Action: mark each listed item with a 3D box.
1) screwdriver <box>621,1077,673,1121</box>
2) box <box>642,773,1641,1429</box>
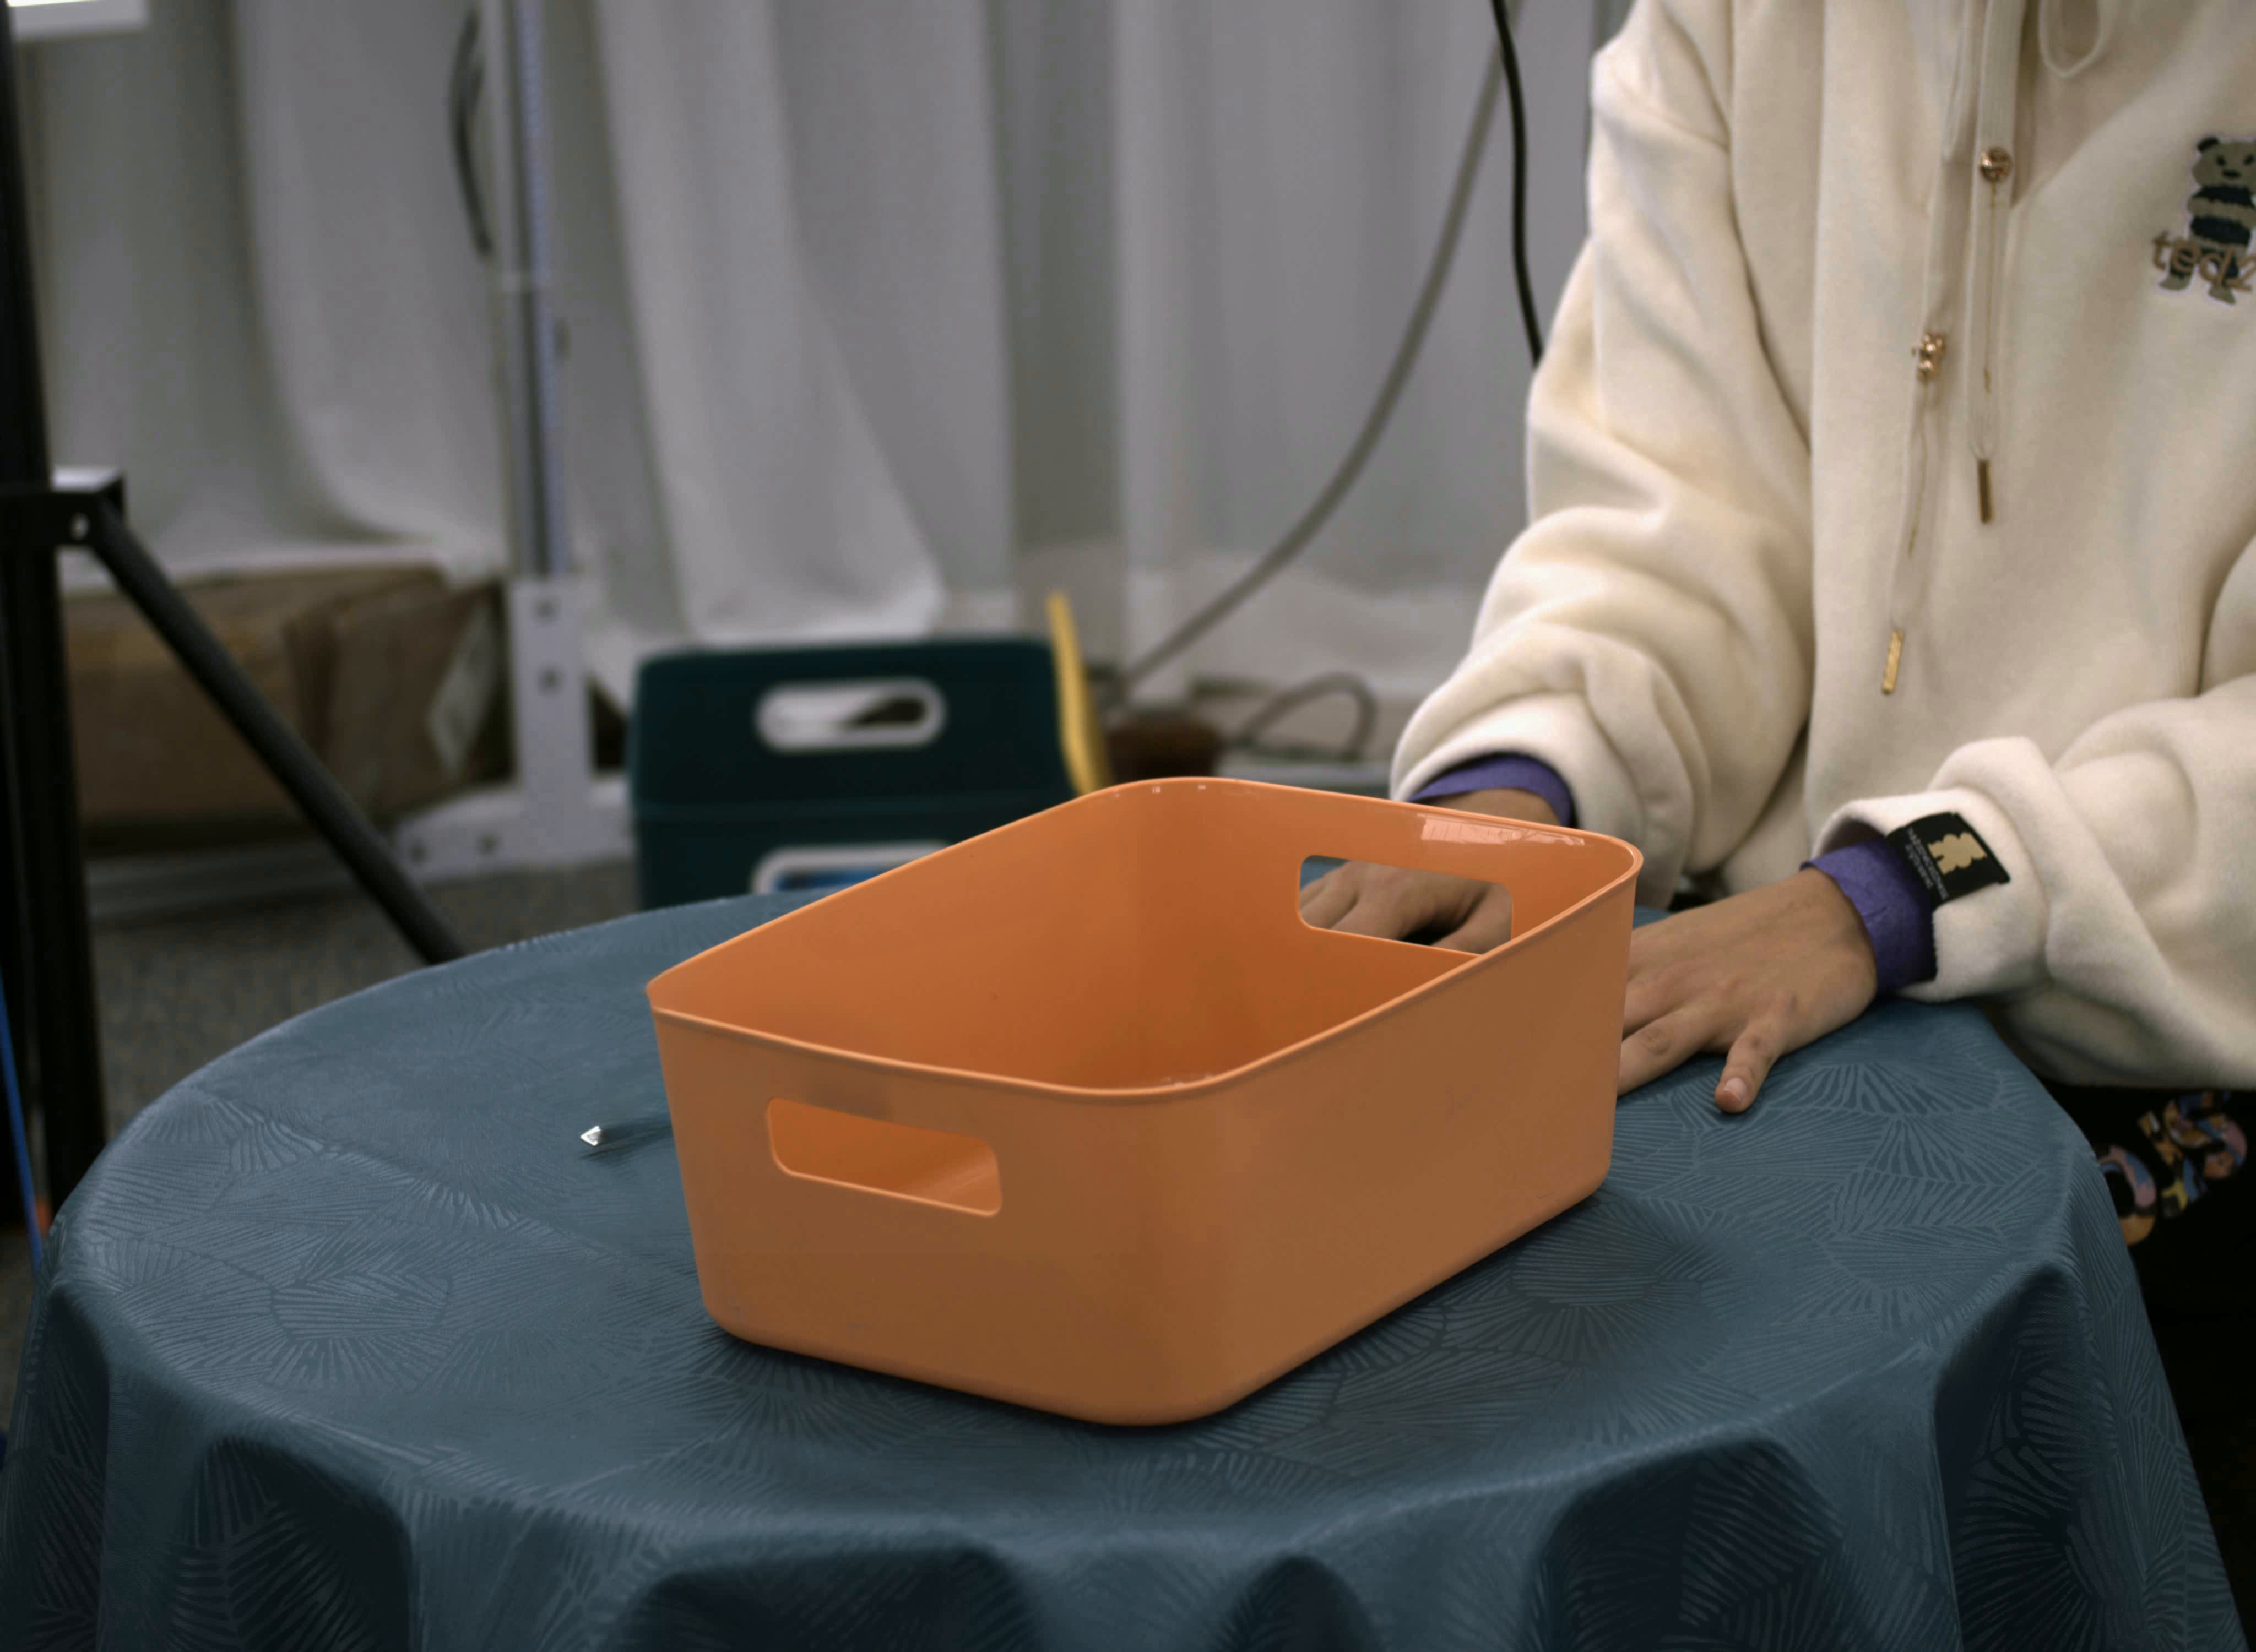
[{"bbox_3d":[-0.085,0.055,1.674,0.032,0.031,0.194,11,29,38],"label":"screwdriver"},{"bbox_3d":[0.011,0.073,1.488,0.203,0.102,0.268,8,19,35],"label":"box"}]
